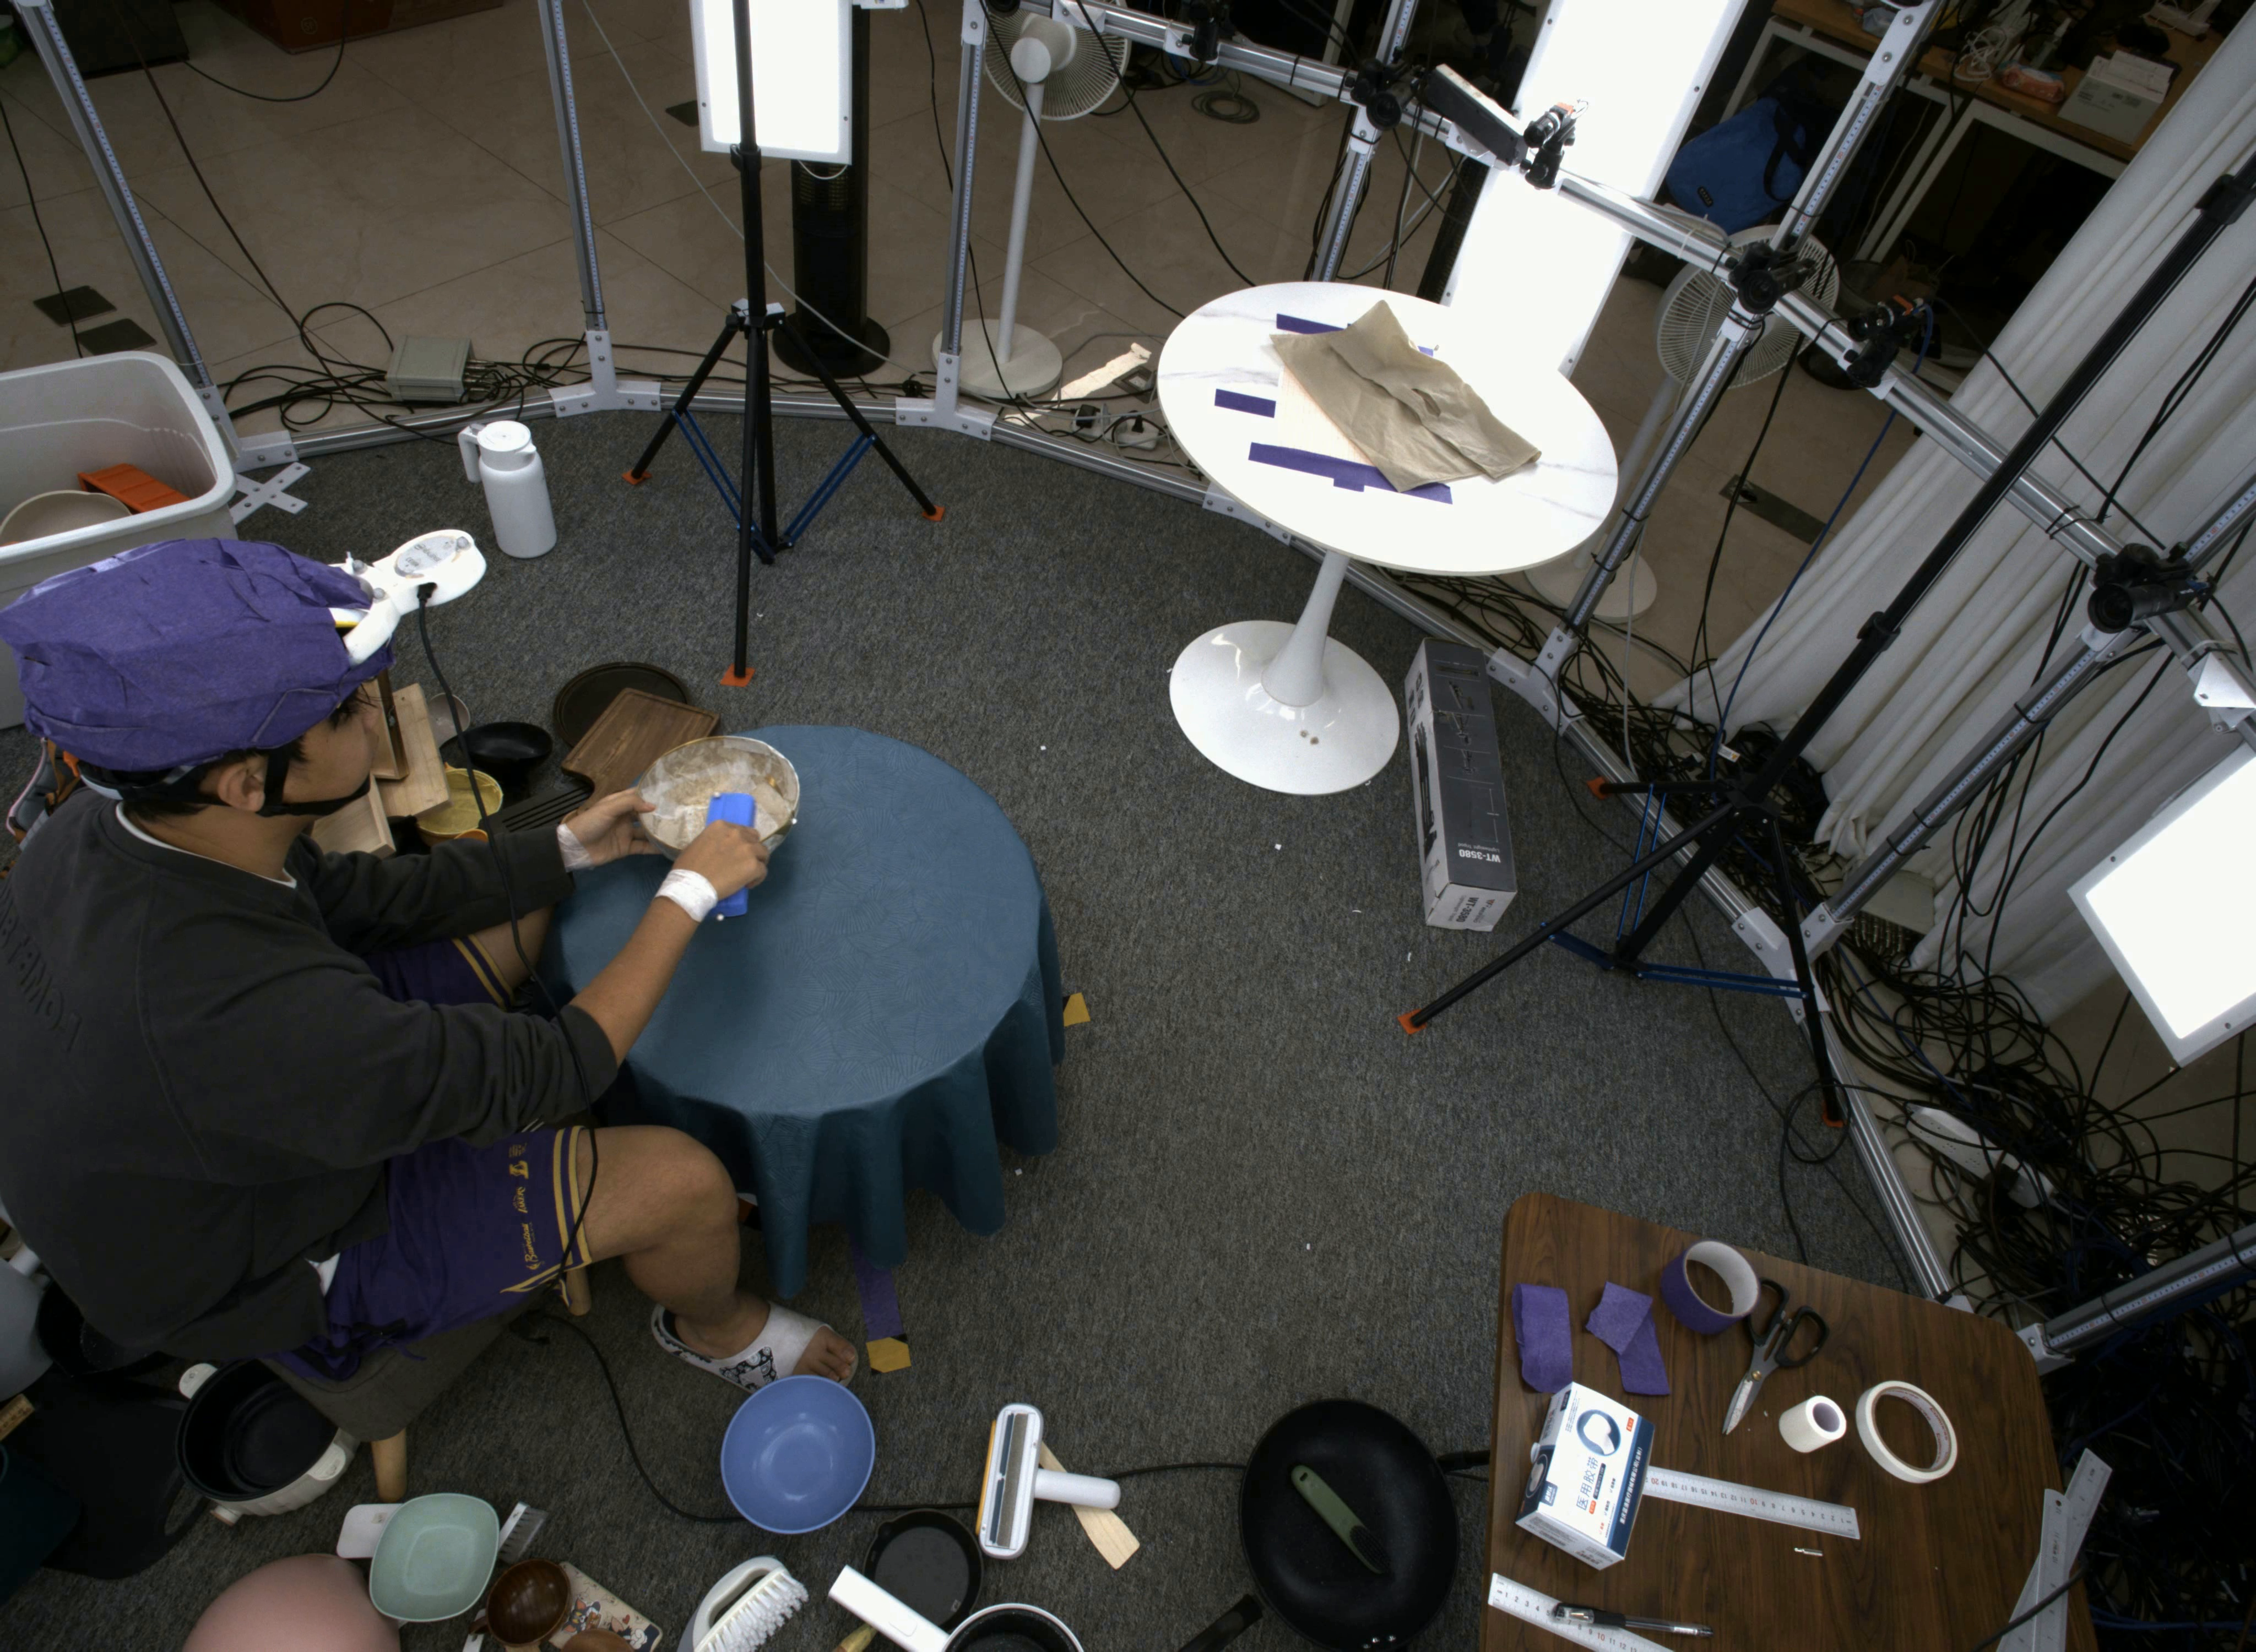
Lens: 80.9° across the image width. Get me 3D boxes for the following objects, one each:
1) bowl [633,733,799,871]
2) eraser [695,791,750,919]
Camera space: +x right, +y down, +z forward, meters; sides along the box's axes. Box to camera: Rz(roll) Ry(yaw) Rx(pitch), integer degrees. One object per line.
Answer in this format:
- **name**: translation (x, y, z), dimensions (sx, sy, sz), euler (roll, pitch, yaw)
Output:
- **bowl**: translation (-0.524, -0.014, 1.649), dimensions (0.213, 0.097, 0.210), euler (6, 50, -6)
- **eraser**: translation (-0.482, 0.028, 1.536), dimensions (0.054, 0.048, 0.159), euler (1, 58, -12)
